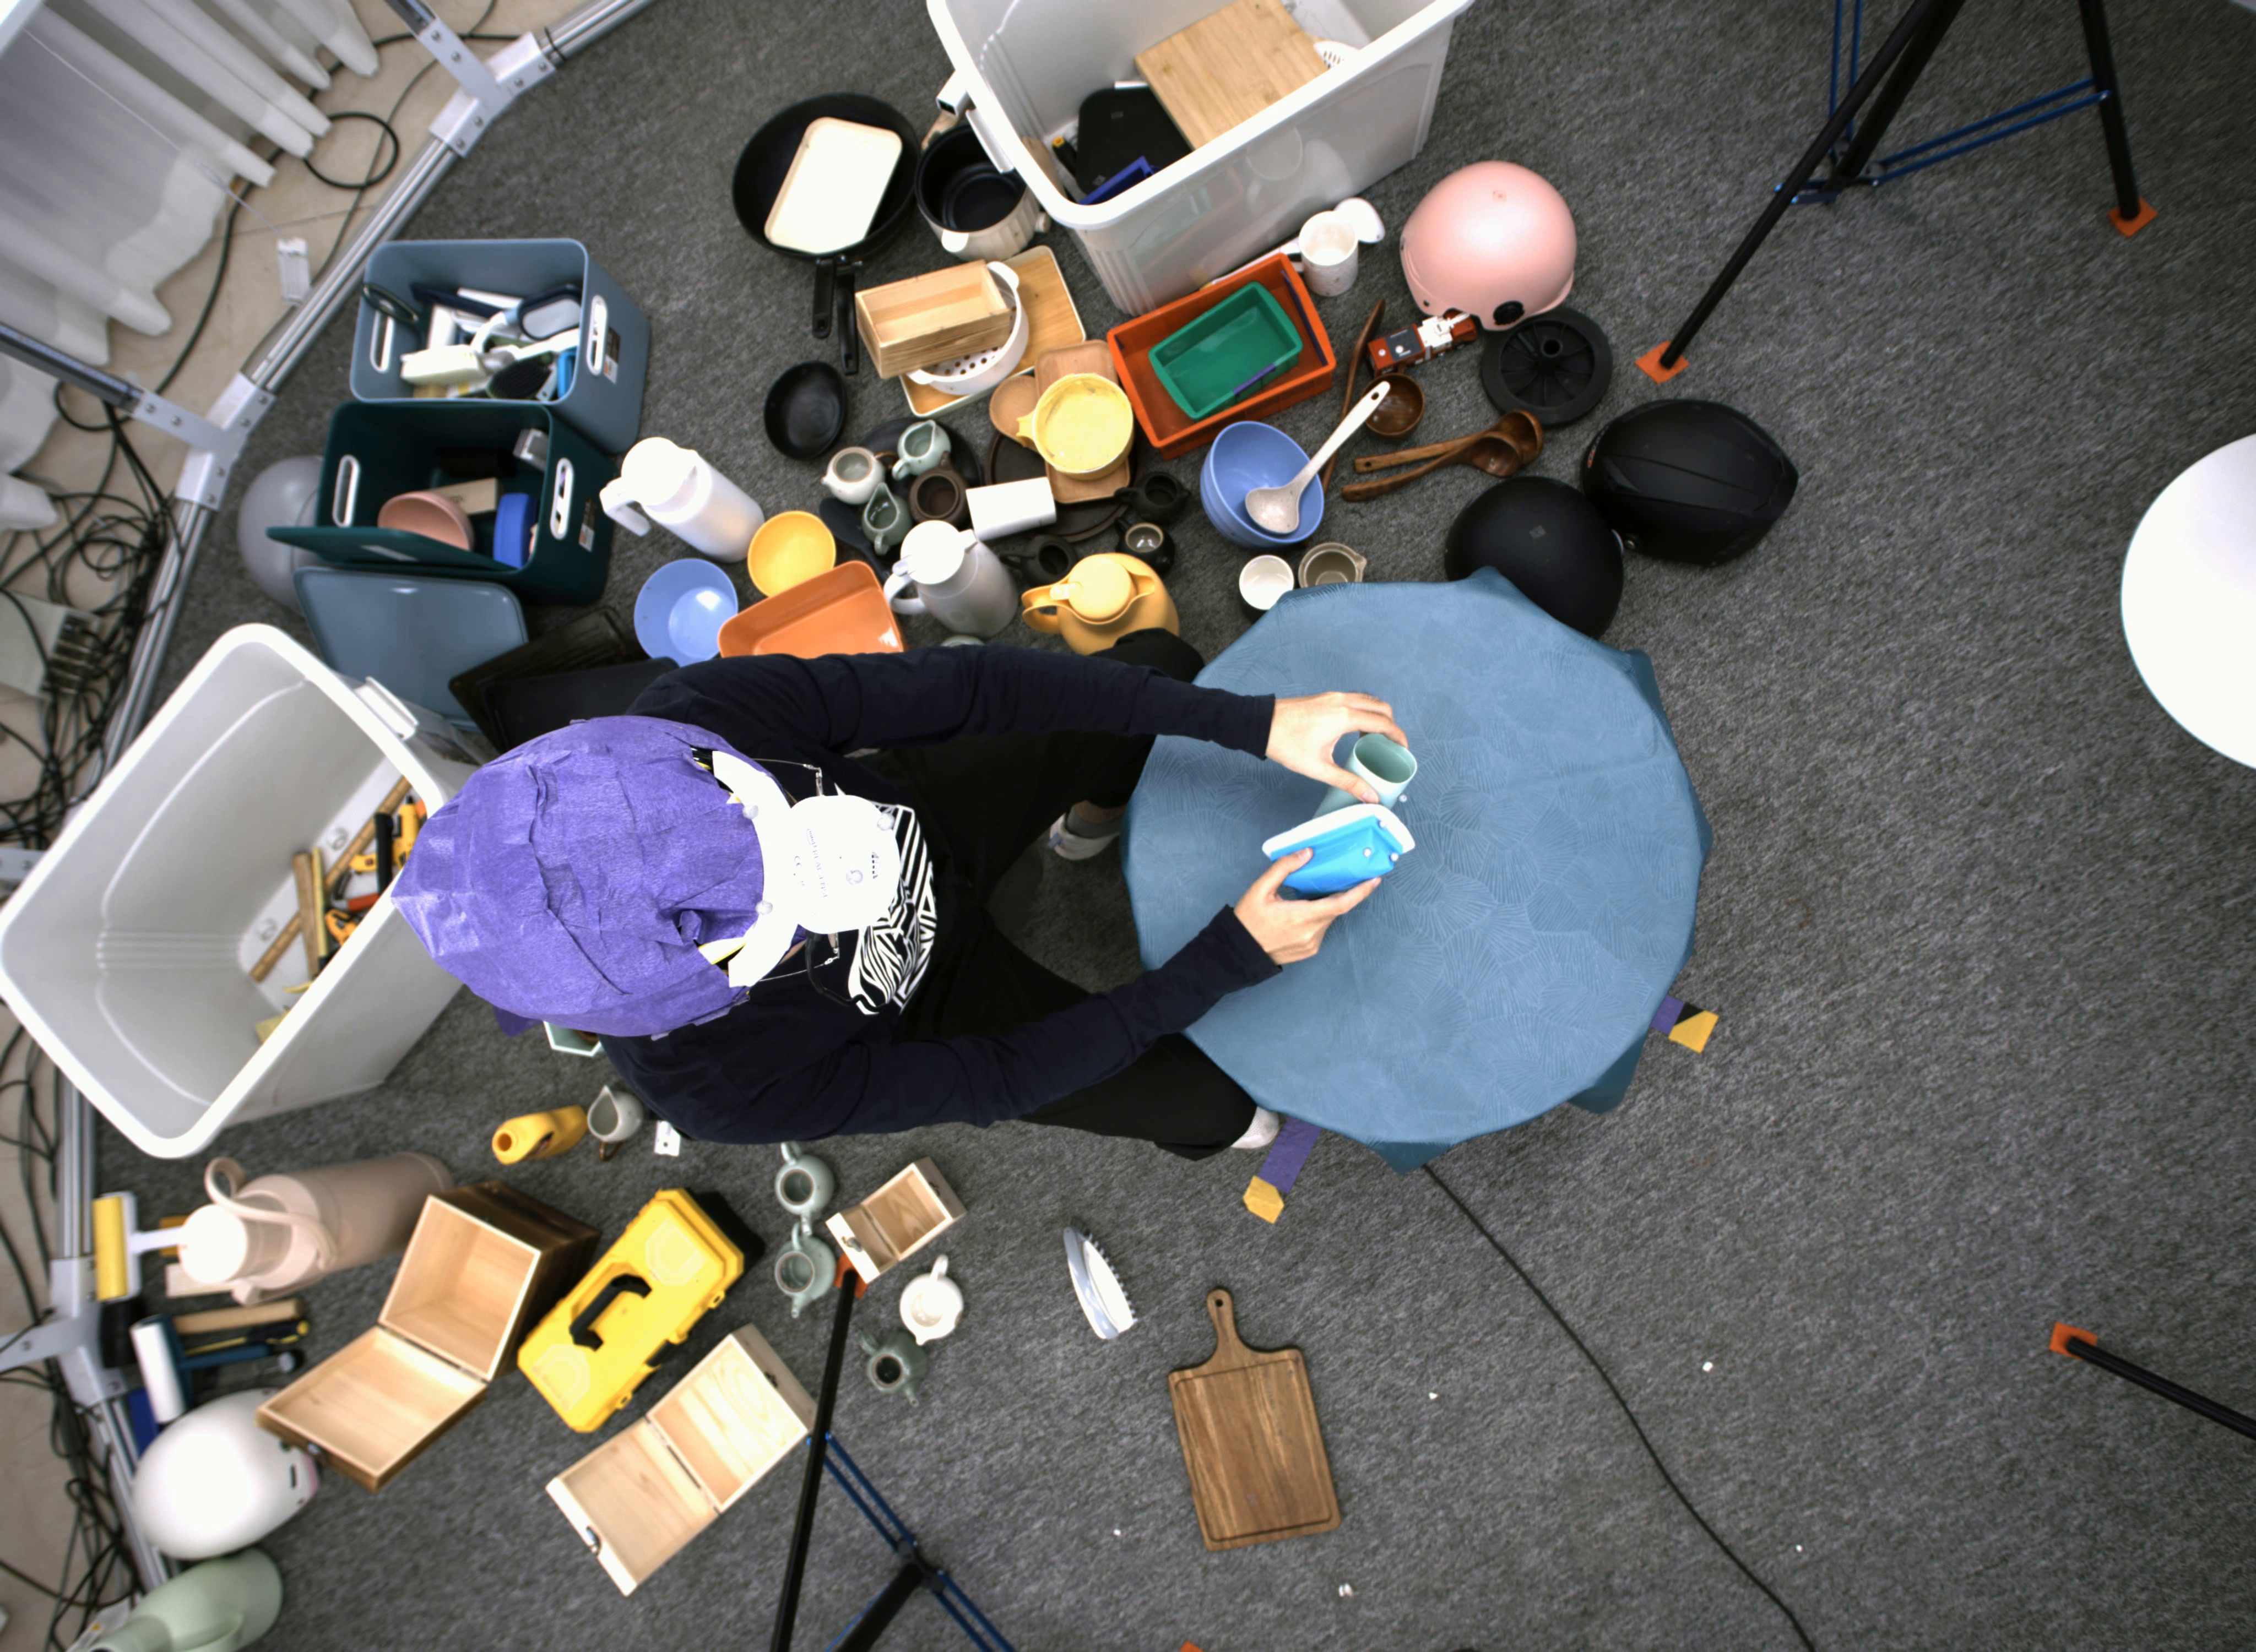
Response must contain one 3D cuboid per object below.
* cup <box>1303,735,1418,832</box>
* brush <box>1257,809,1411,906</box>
[{"bbox_3d":[0.227,-0.024,1.366,0.067,0.136,0.065,10,52,-13],"label":"cup"},{"bbox_3d":[0.199,0.038,1.349,0.146,0.054,0.085,-23,126,32],"label":"brush"}]
